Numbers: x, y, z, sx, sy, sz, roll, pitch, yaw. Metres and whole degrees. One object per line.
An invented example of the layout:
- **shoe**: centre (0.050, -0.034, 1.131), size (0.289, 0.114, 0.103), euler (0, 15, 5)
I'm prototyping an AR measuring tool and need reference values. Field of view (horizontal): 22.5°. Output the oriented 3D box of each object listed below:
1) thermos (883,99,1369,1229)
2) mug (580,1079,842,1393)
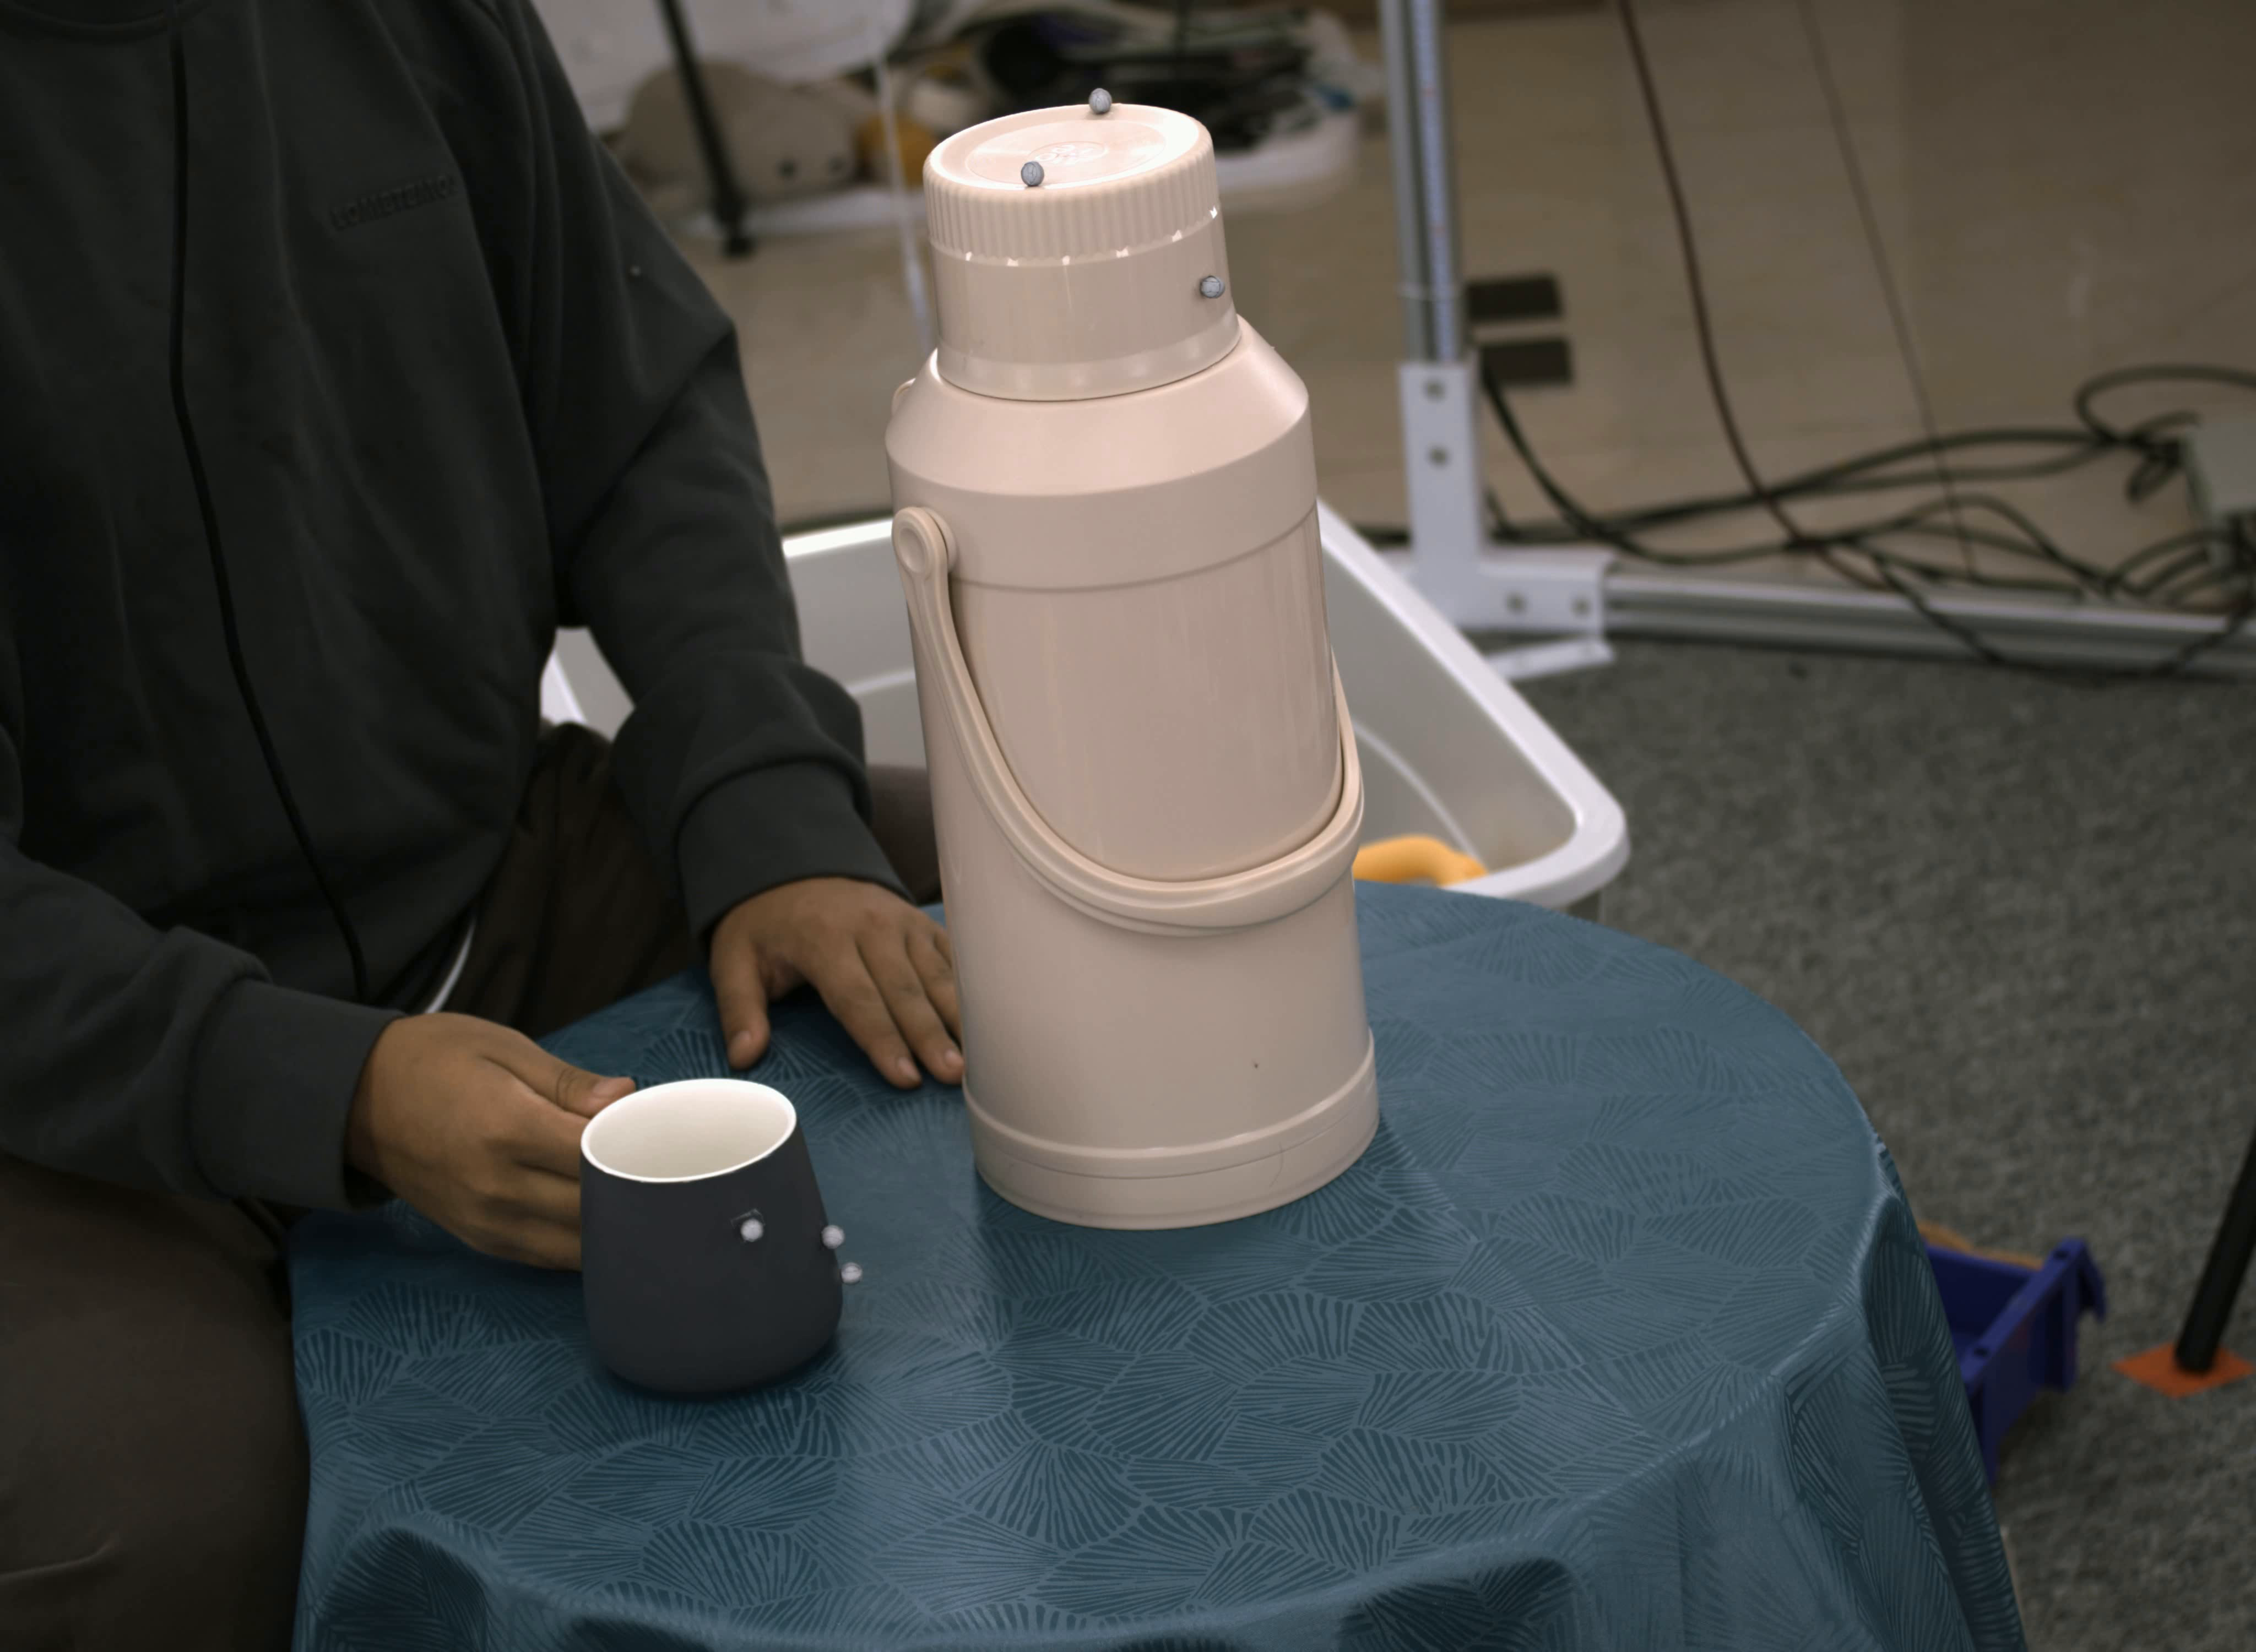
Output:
- **thermos**: centre (-0.011, -0.065, 2.113), size (0.174, 0.413, 0.205), euler (-24, 31, -32)
- **mug**: centre (-0.161, 0.144, 2.066), size (0.093, 0.091, 0.122), euler (-18, 27, -24)
